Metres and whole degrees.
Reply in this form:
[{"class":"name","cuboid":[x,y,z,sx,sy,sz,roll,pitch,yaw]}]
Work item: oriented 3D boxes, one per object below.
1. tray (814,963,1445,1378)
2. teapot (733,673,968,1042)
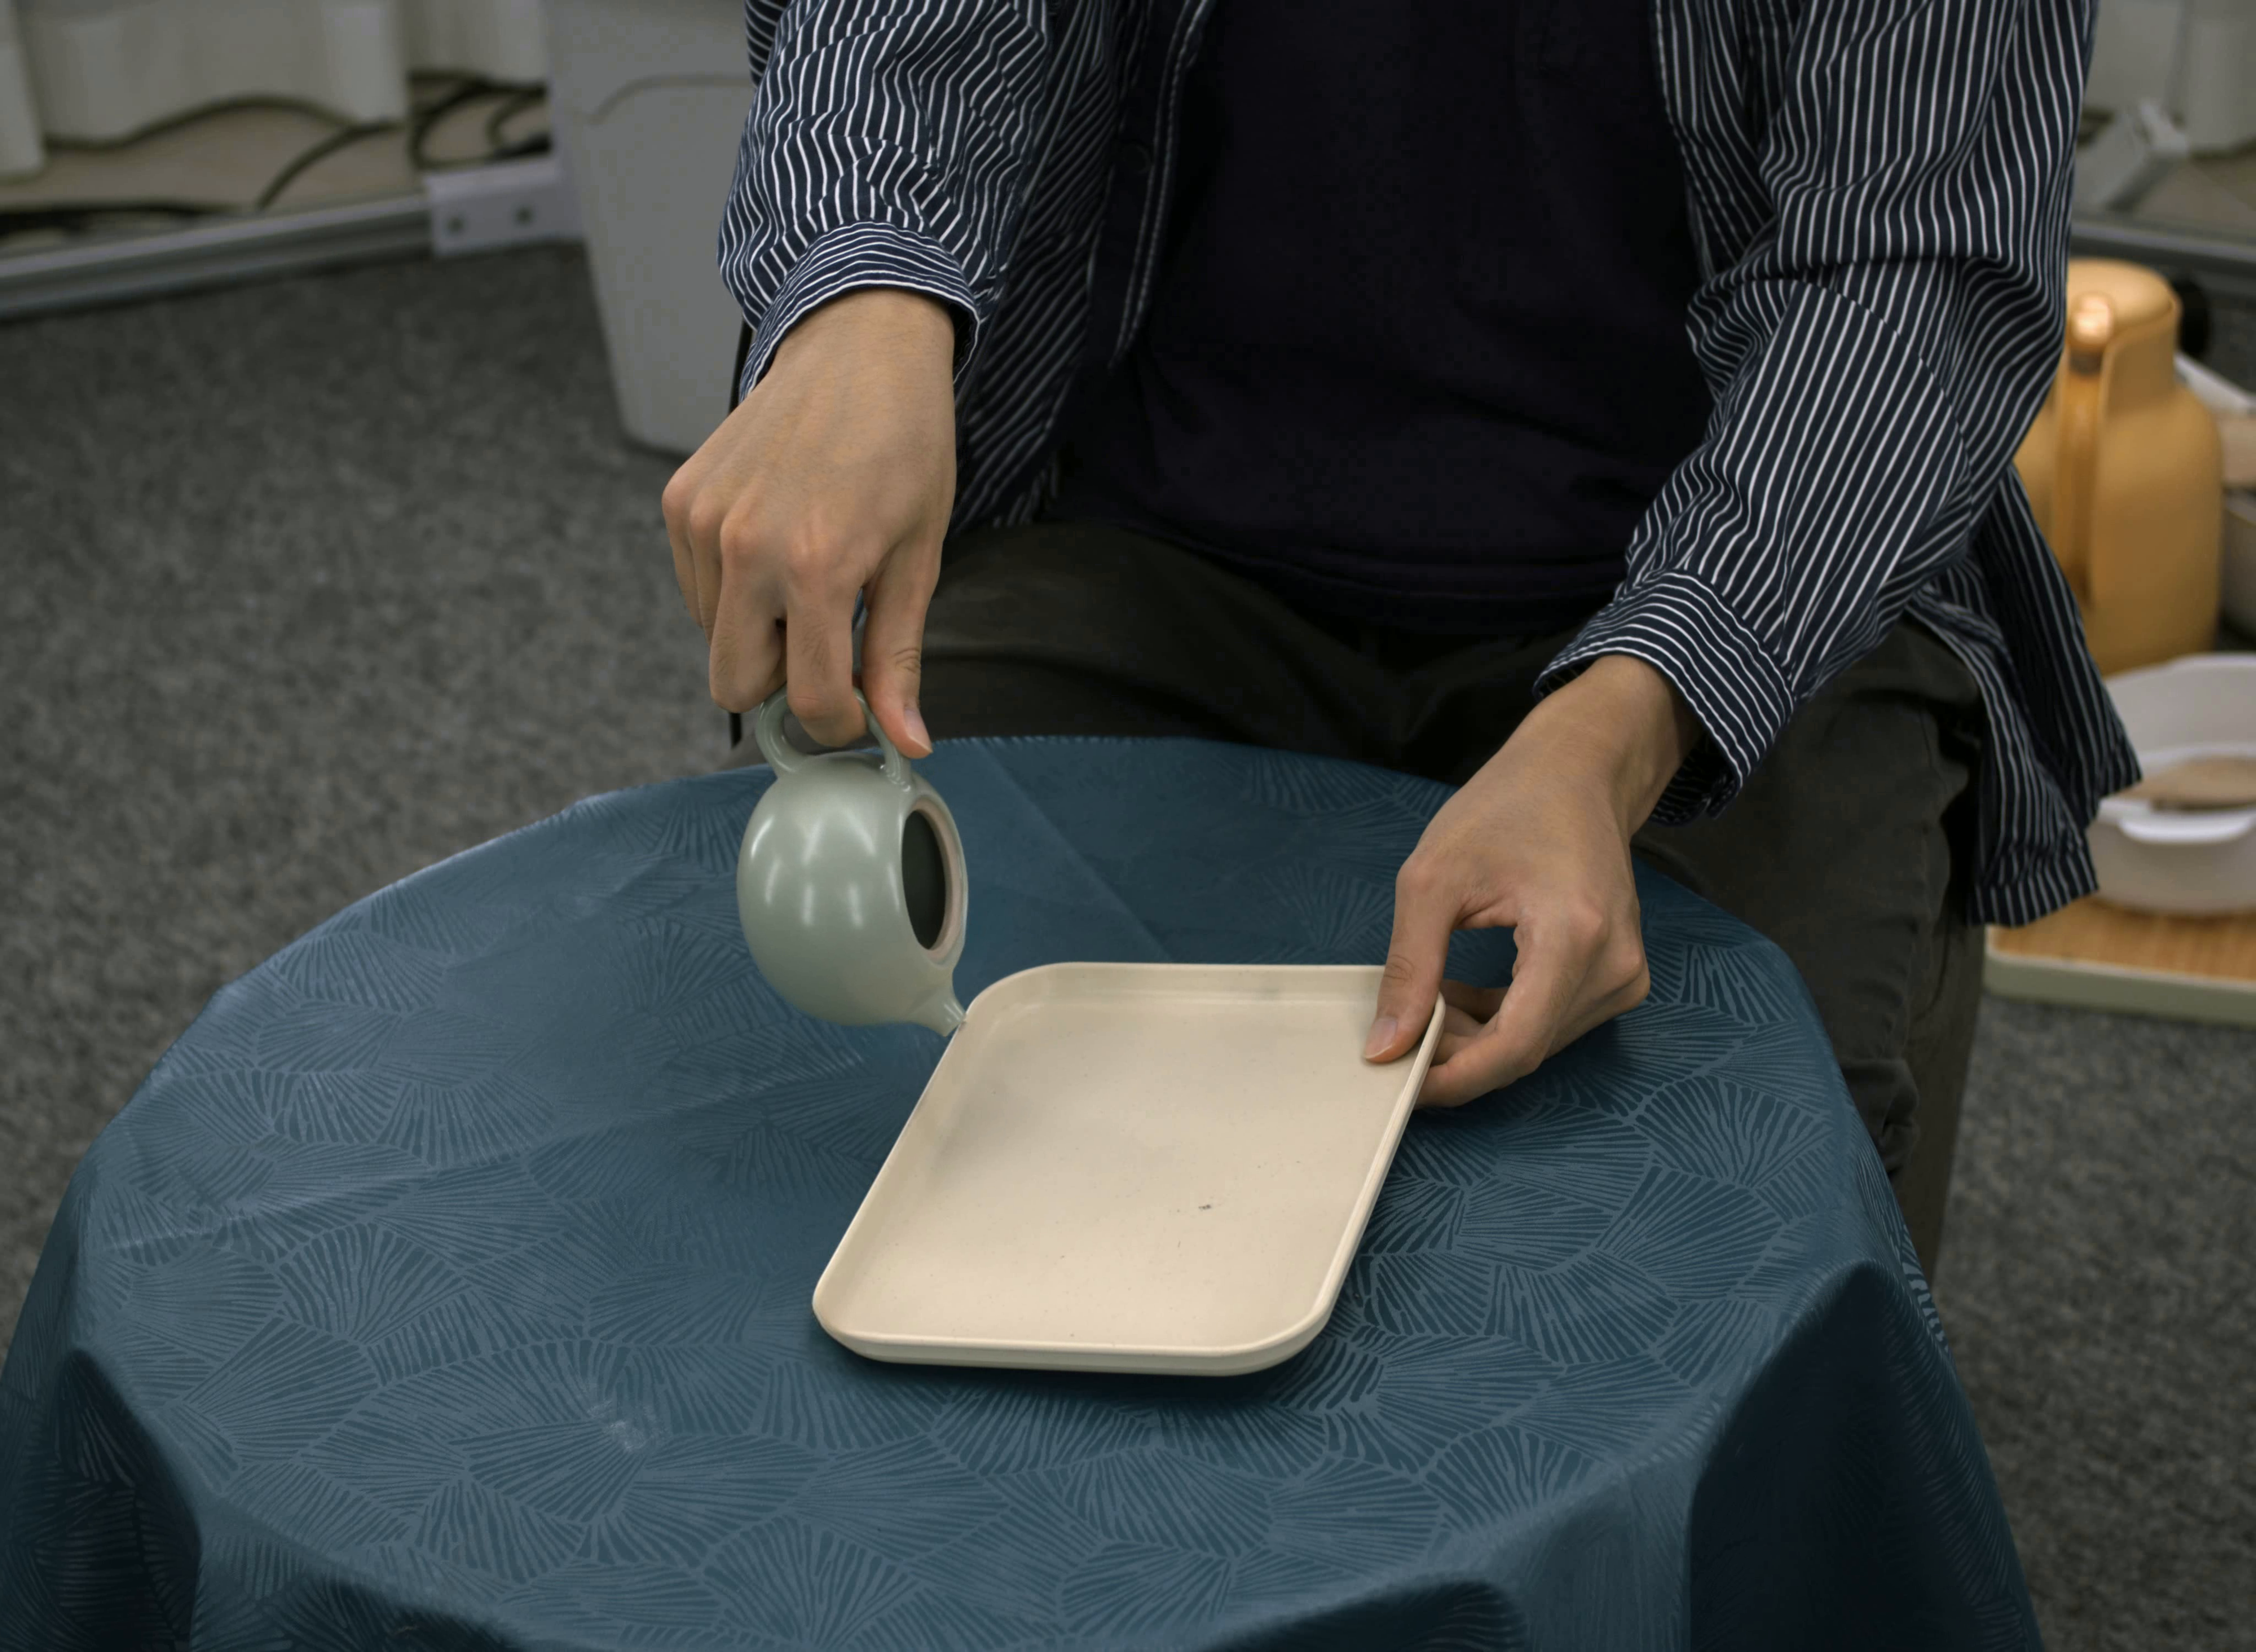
[{"class":"tray","cuboid":[0.004,0.112,1.844,0.170,0.017,0.244,1,28,16]},{"class":"teapot","cuboid":[-0.094,0.012,1.853,0.060,0.128,0.092,-7,11,21]}]
